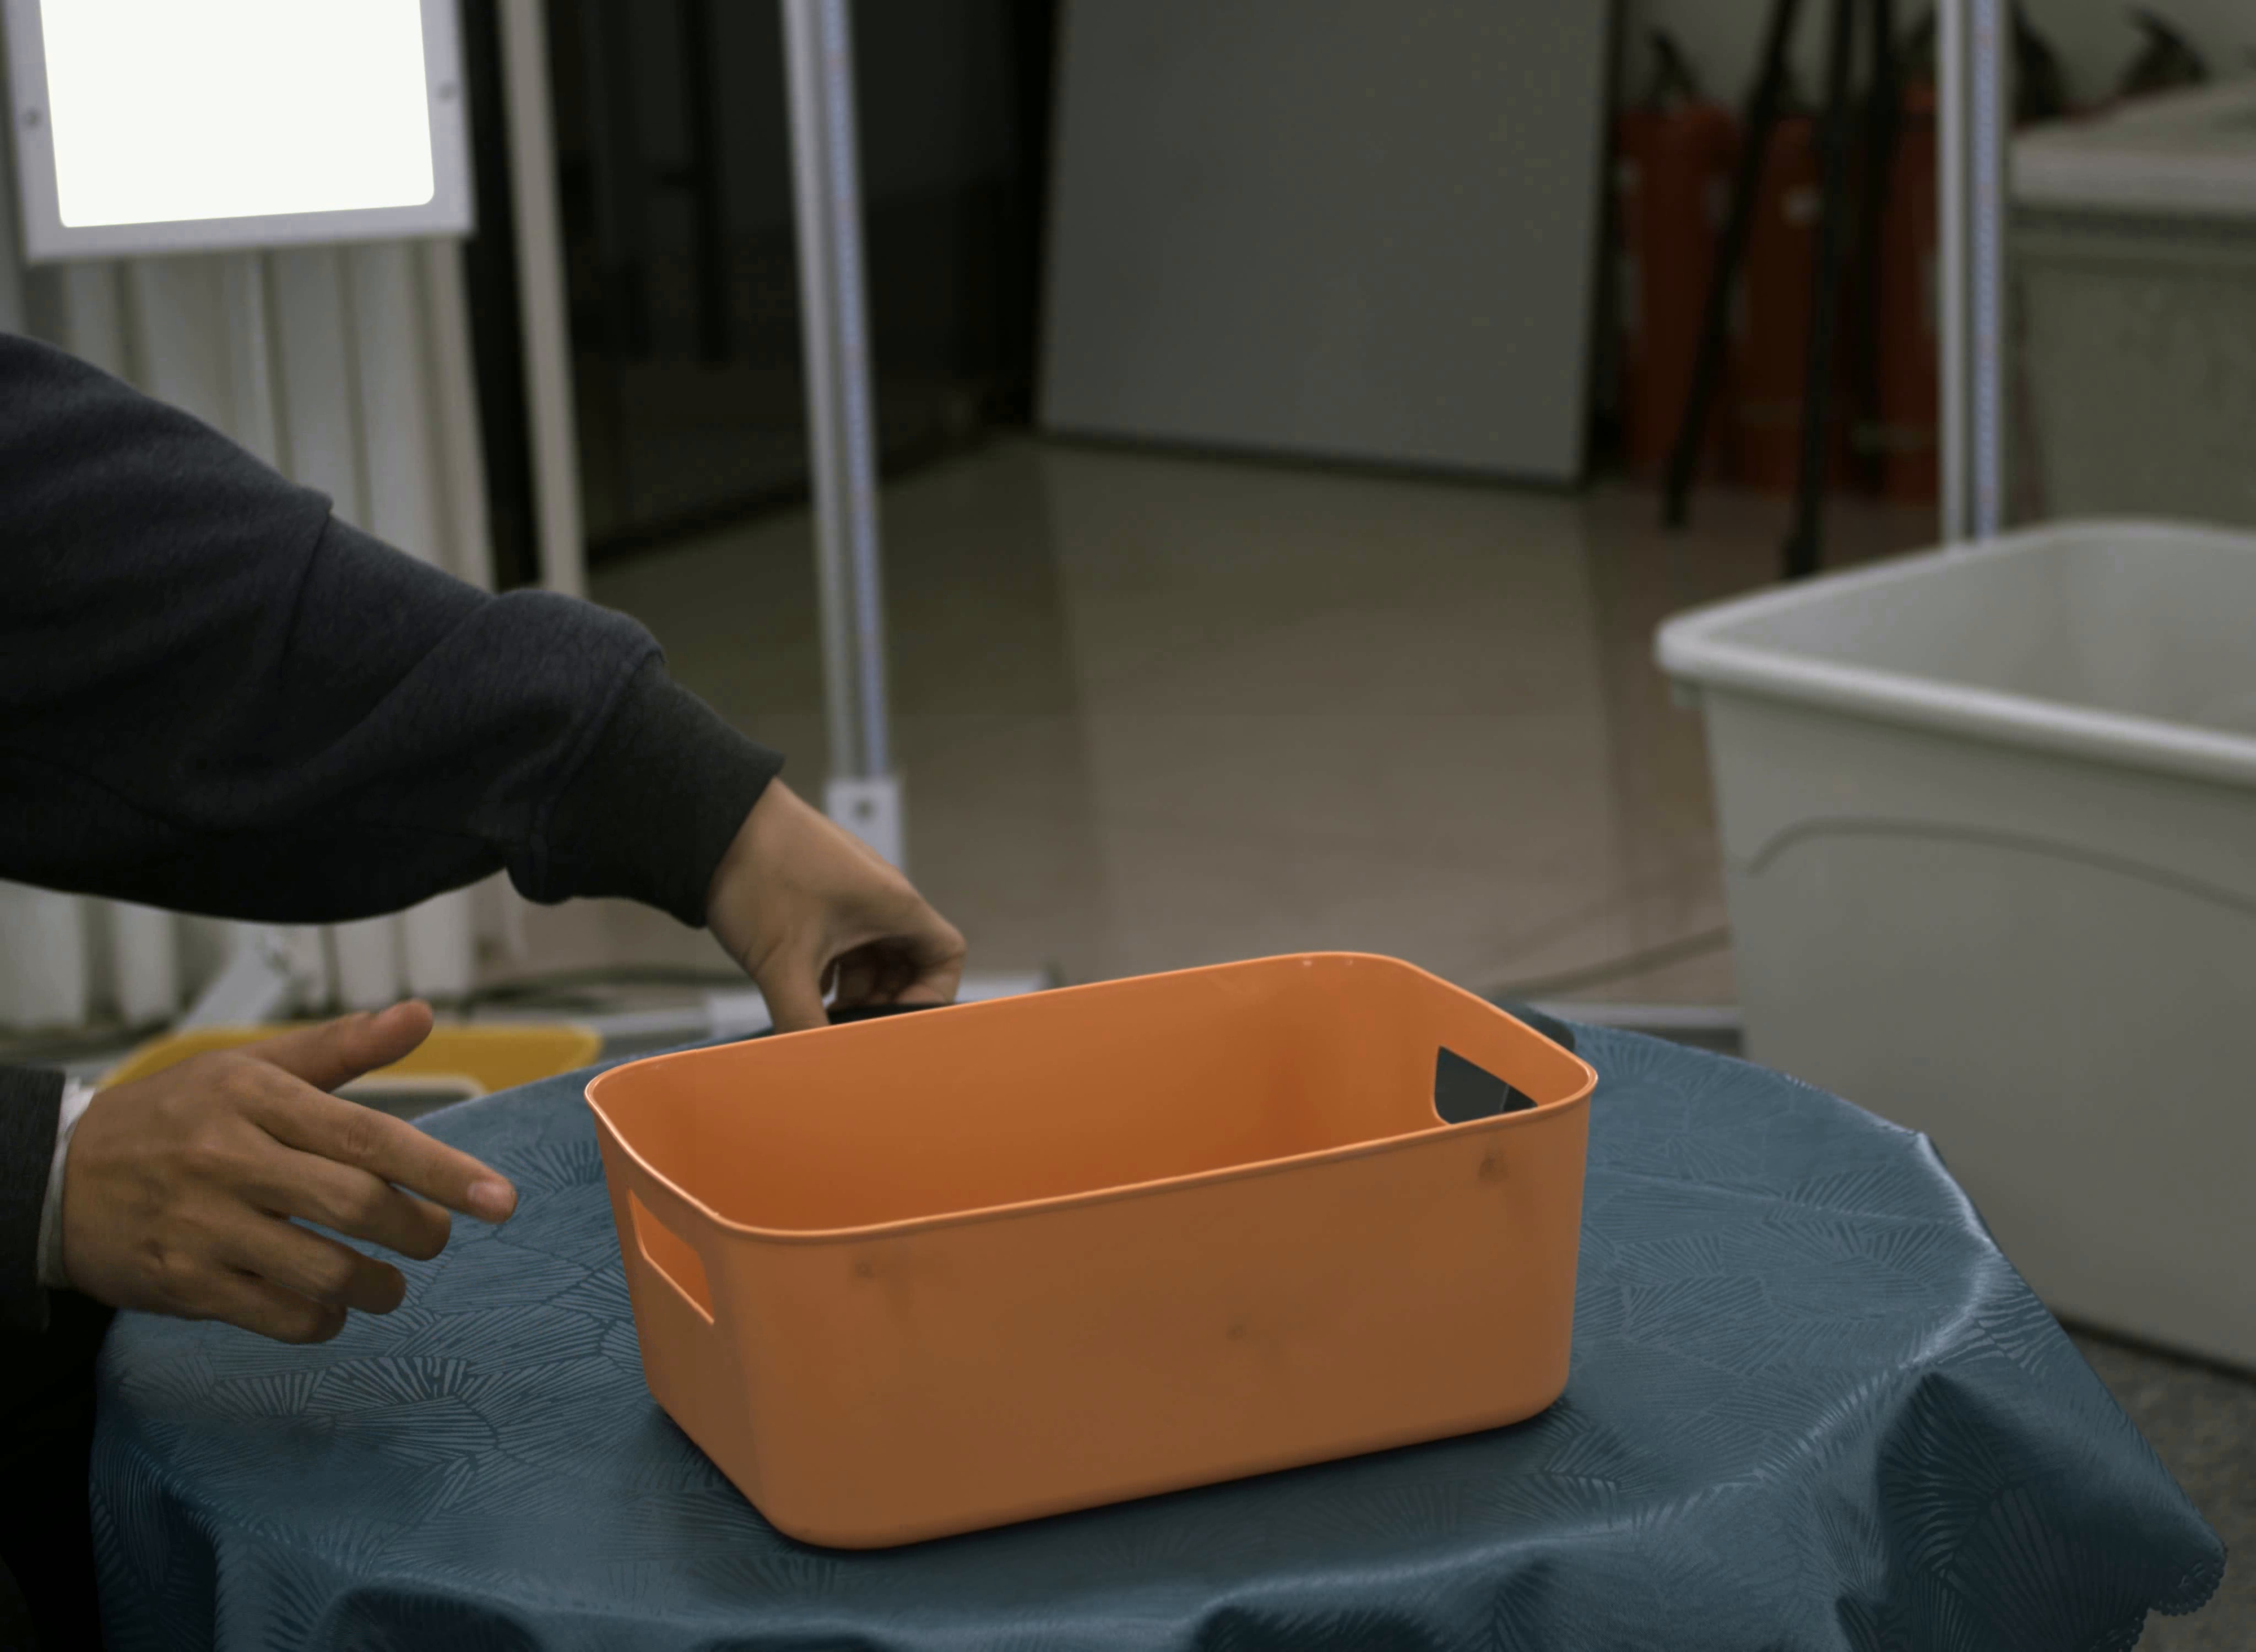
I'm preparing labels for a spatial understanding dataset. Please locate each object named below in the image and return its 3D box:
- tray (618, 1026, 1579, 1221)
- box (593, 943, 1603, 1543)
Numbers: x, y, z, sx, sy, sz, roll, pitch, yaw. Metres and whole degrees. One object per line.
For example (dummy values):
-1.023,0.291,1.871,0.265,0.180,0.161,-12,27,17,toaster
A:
-0.012,0.101,1.825,0.323,0.010,0.210,-1,17,12,tray
-0.009,0.118,1.563,0.267,0.104,0.201,-8,14,-19,box
